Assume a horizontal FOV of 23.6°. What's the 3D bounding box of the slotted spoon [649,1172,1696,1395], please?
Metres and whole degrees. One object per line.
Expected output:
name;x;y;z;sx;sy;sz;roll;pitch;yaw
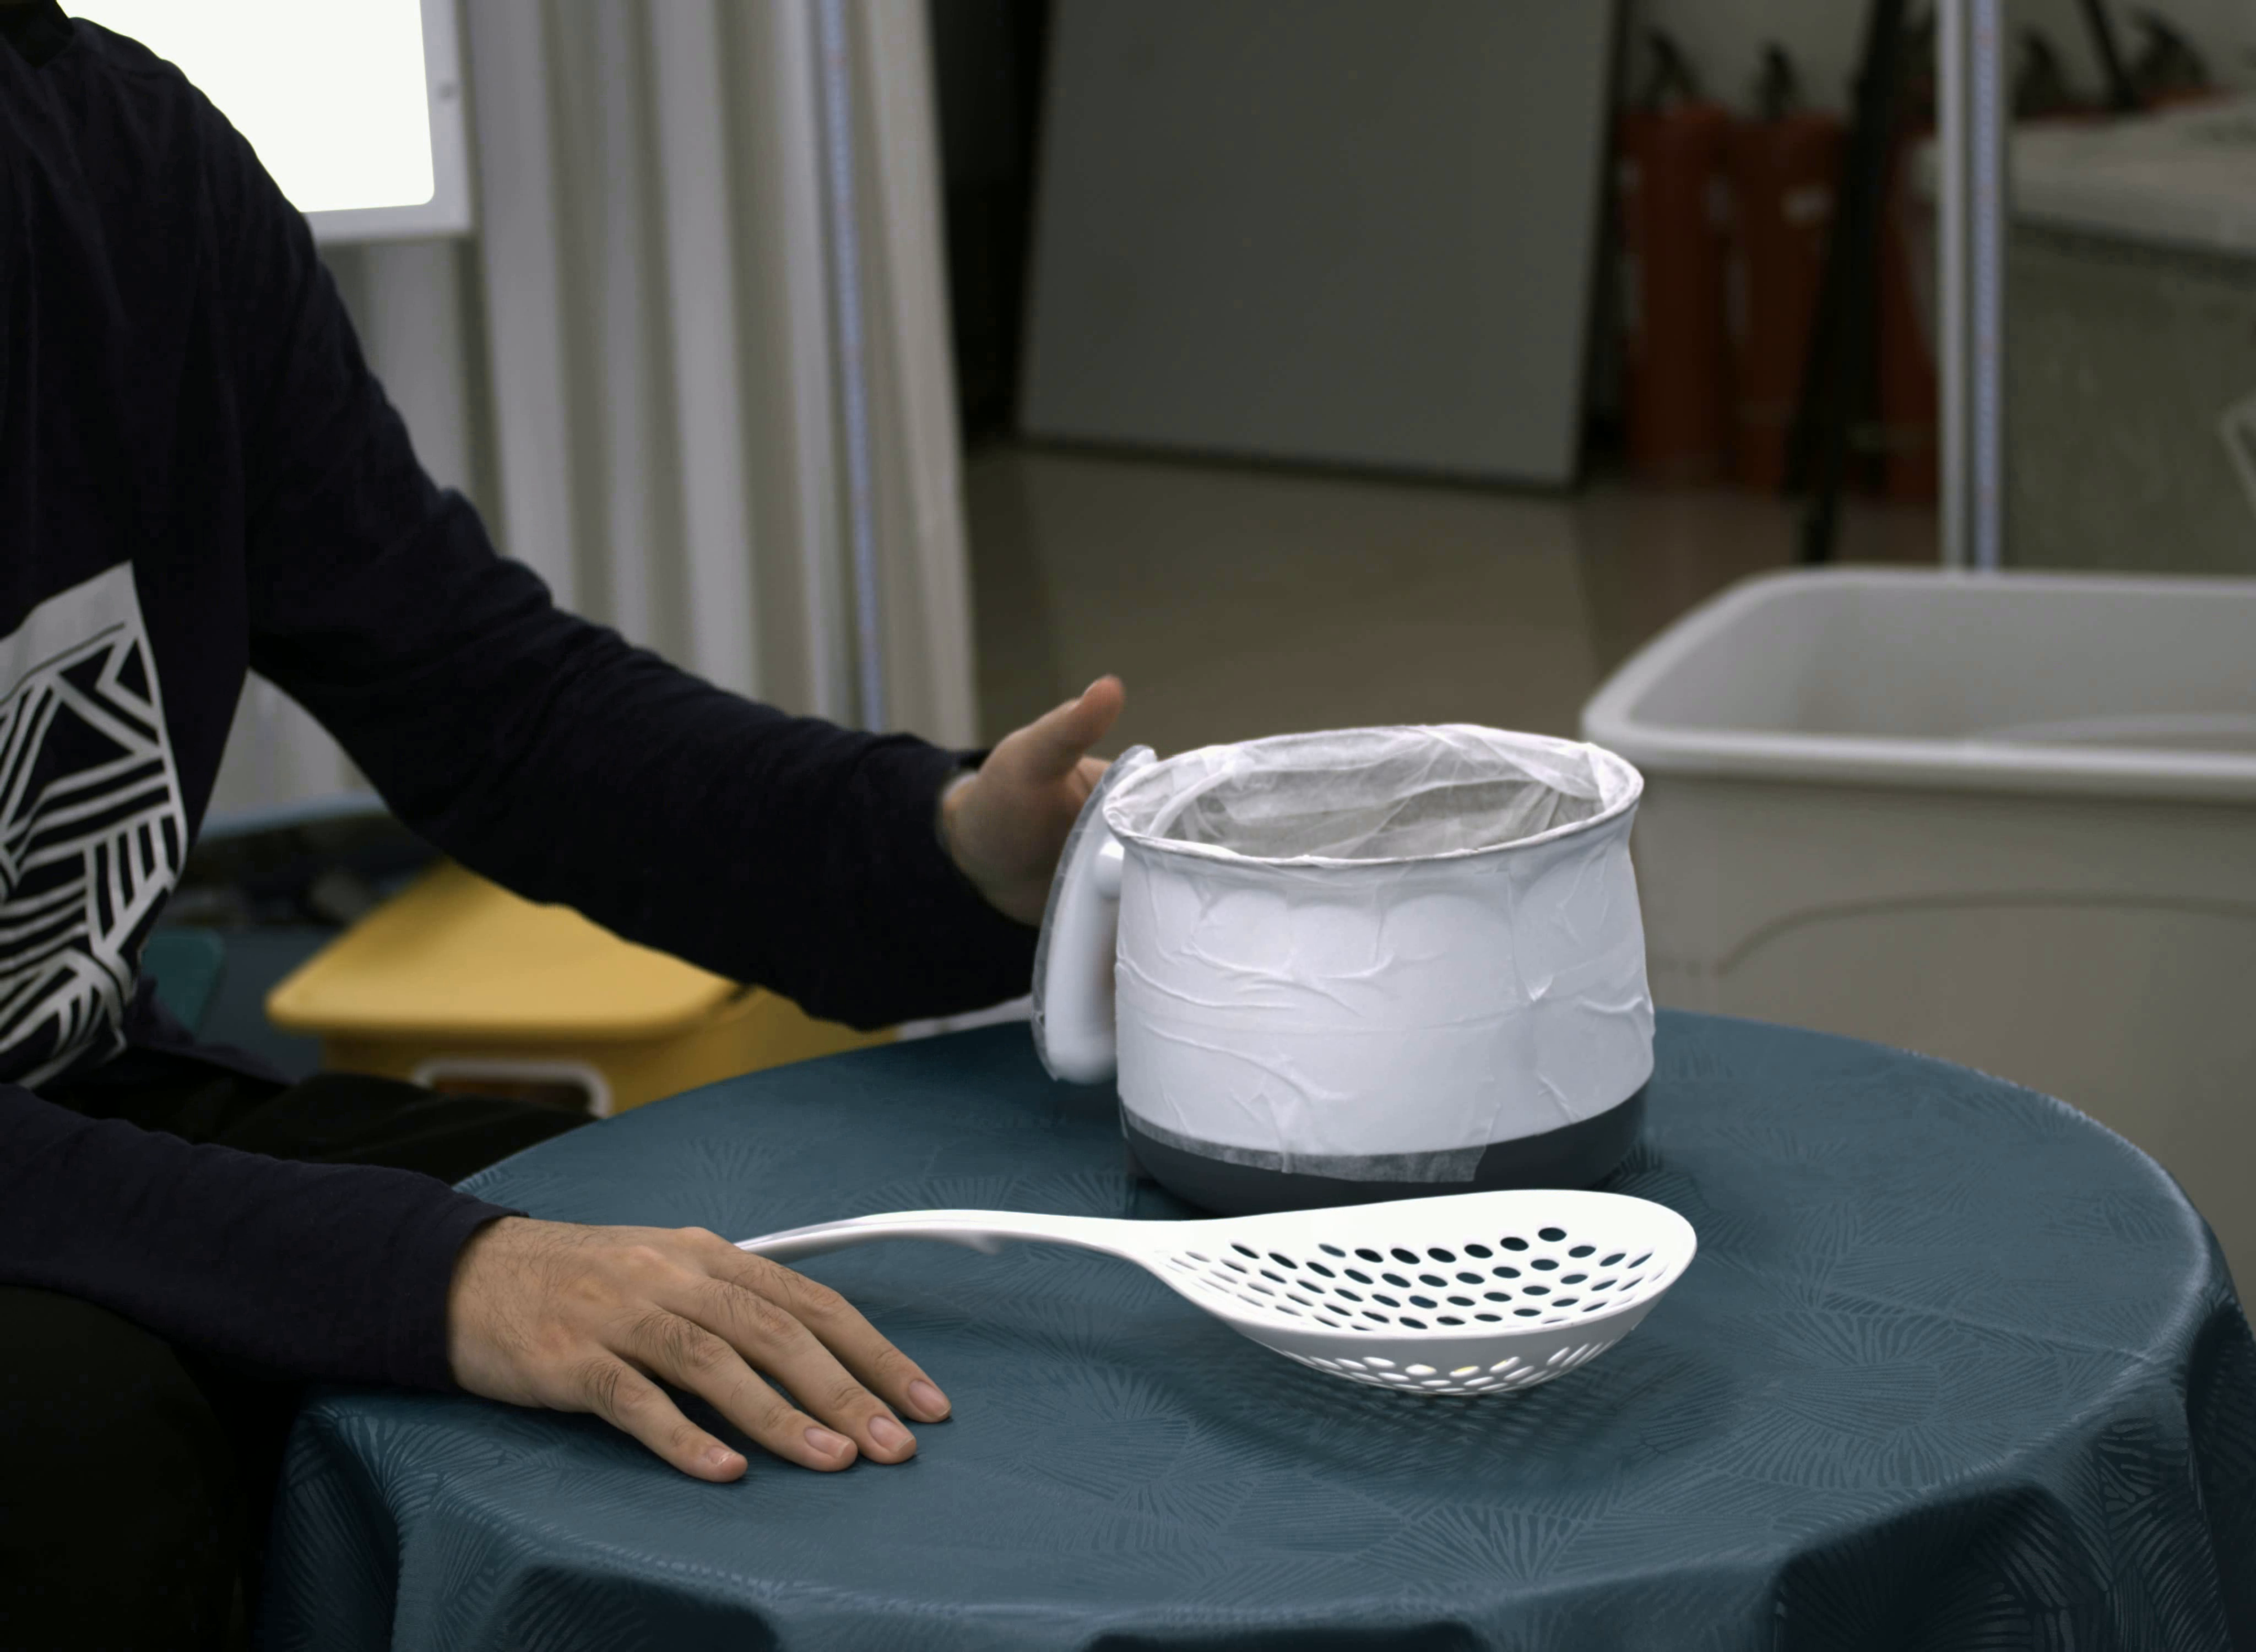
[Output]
slotted spoon;0.005;0.134;1.624;0.349;0.051;0.135;5;17;29

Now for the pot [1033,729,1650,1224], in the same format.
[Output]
pot;0.061;0.047;1.773;0.235;0.138;0.175;8;15;39
